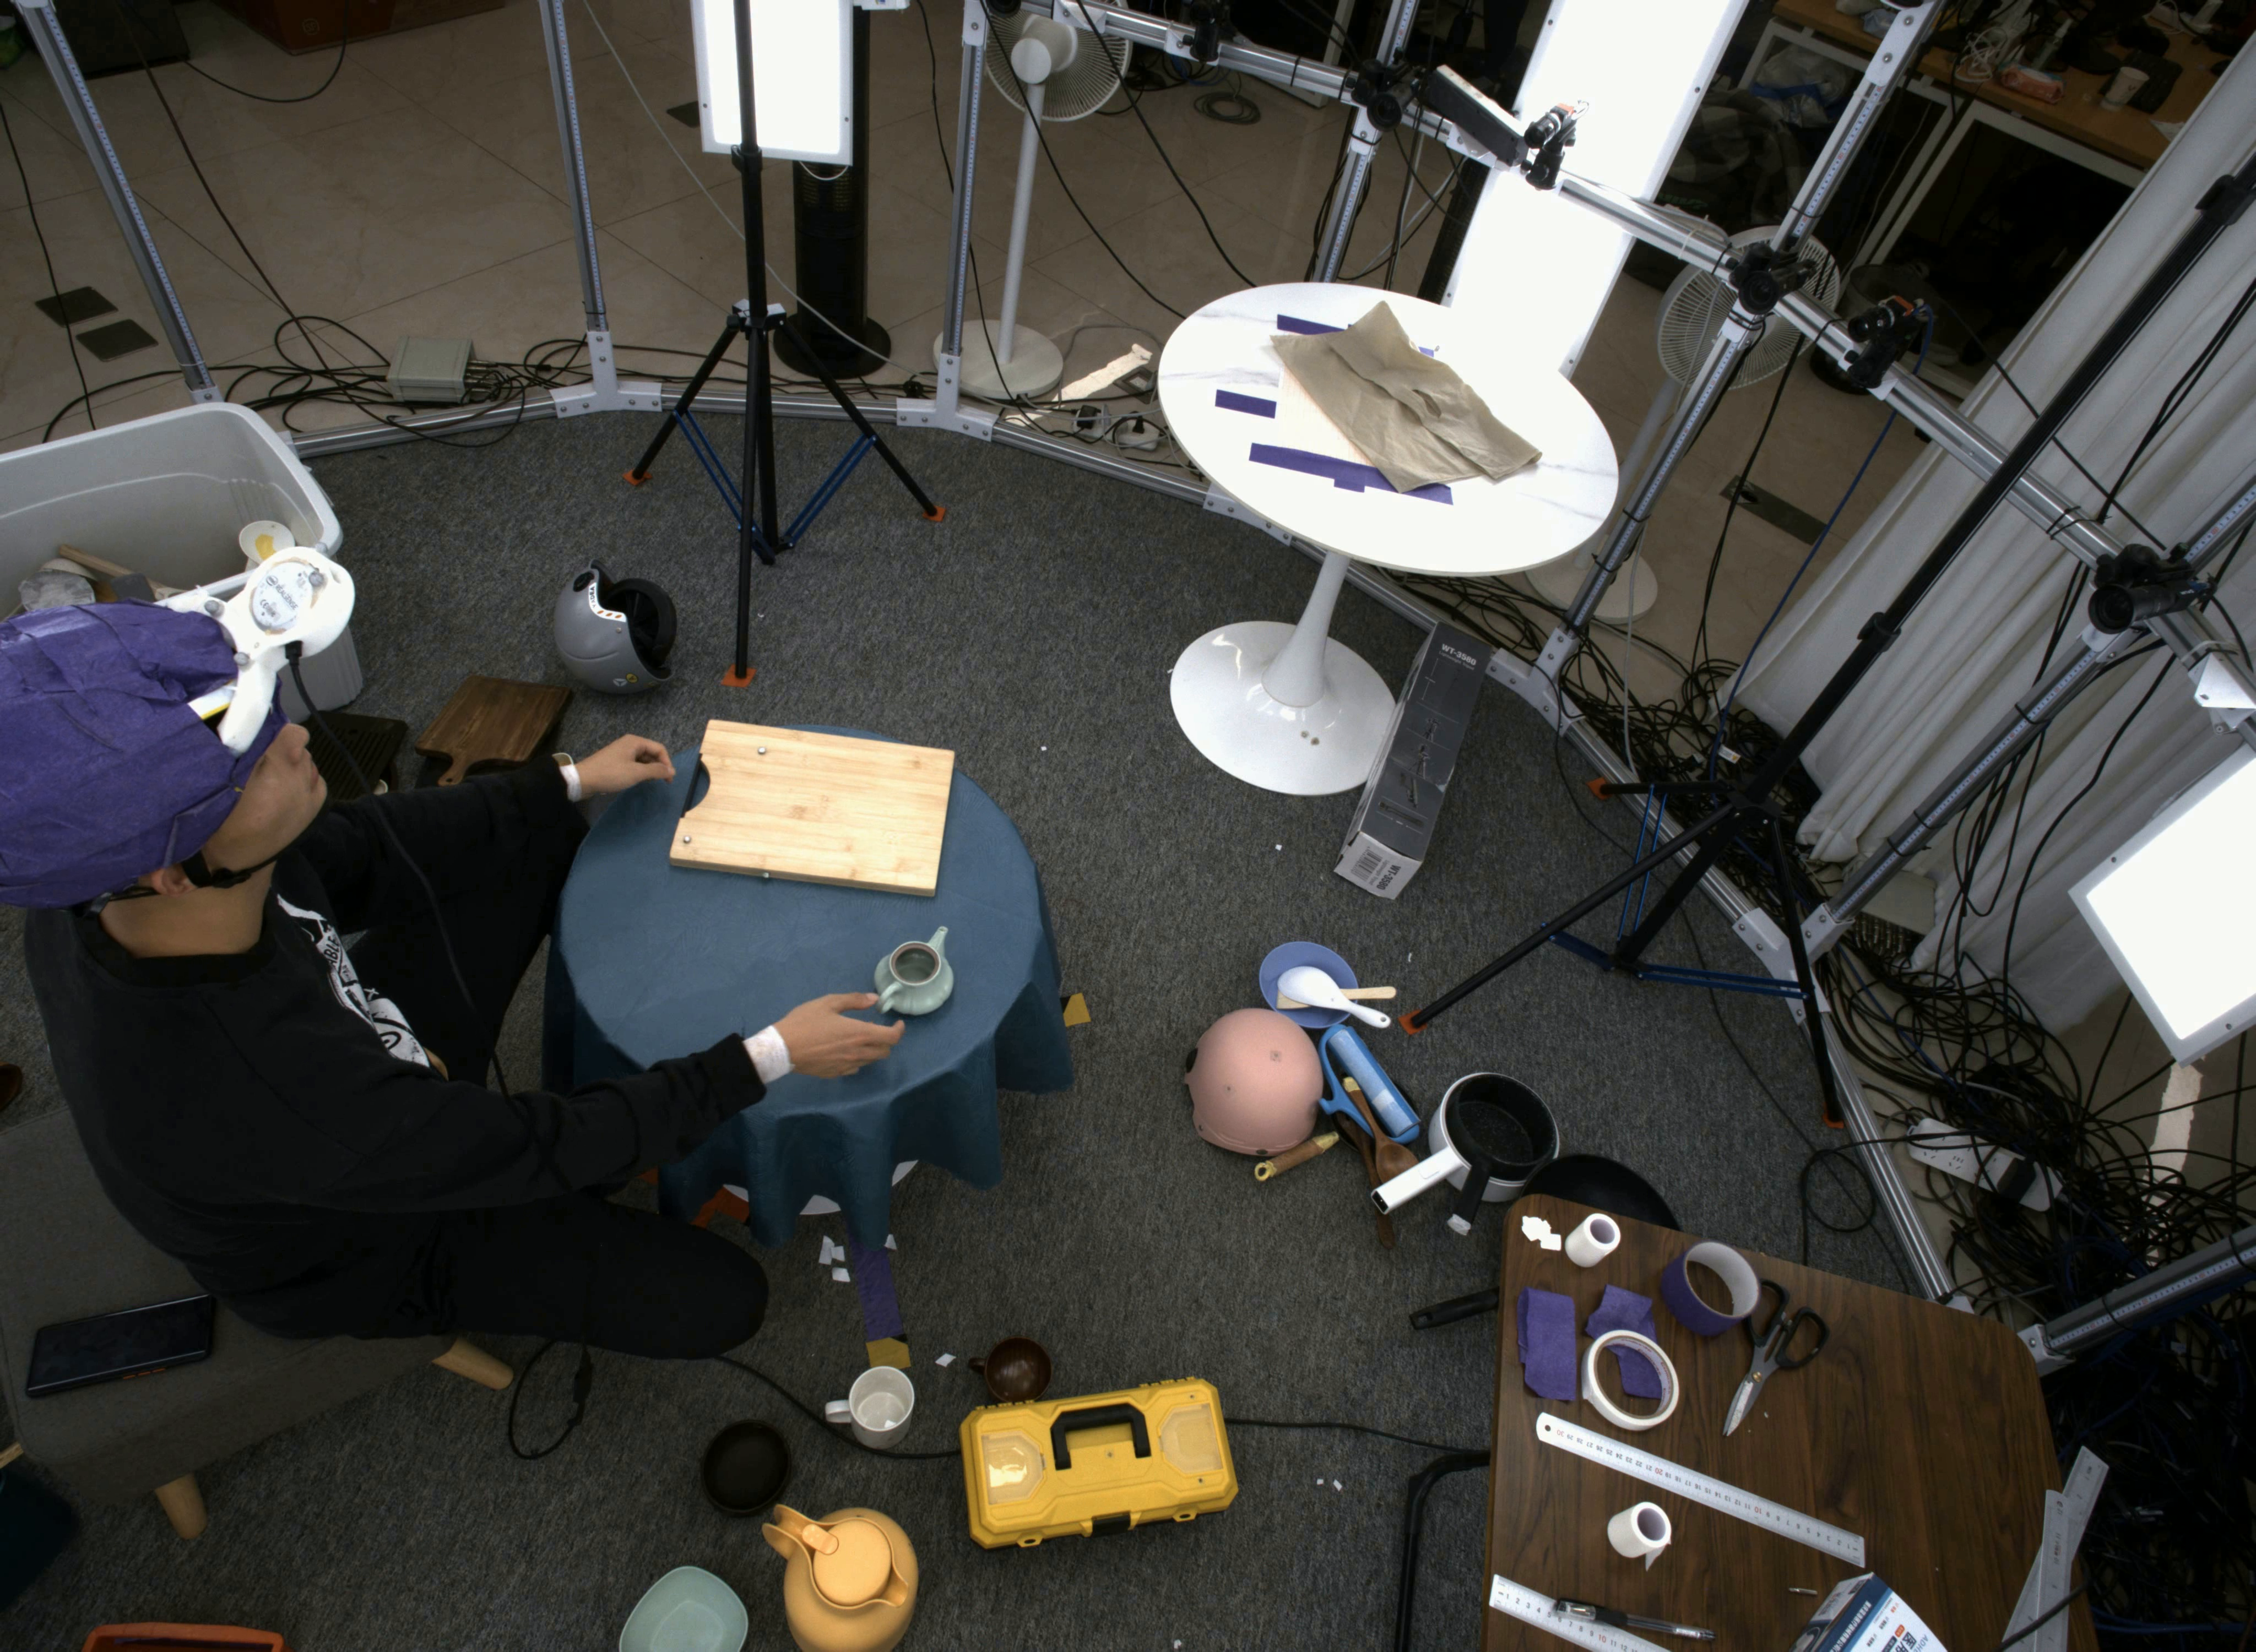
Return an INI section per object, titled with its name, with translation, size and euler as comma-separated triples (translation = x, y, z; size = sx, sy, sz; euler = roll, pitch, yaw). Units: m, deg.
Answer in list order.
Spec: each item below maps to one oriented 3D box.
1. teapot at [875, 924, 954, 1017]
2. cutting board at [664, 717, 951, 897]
[teapot]
translation = -0.263, 0.182, 1.588
size = 0.095, 0.062, 0.136
euler = 29, 52, 8
[cutting board]
translation = -0.420, -0.029, 1.734
size = 0.348, 0.024, 0.246
euler = 7, 52, -10
